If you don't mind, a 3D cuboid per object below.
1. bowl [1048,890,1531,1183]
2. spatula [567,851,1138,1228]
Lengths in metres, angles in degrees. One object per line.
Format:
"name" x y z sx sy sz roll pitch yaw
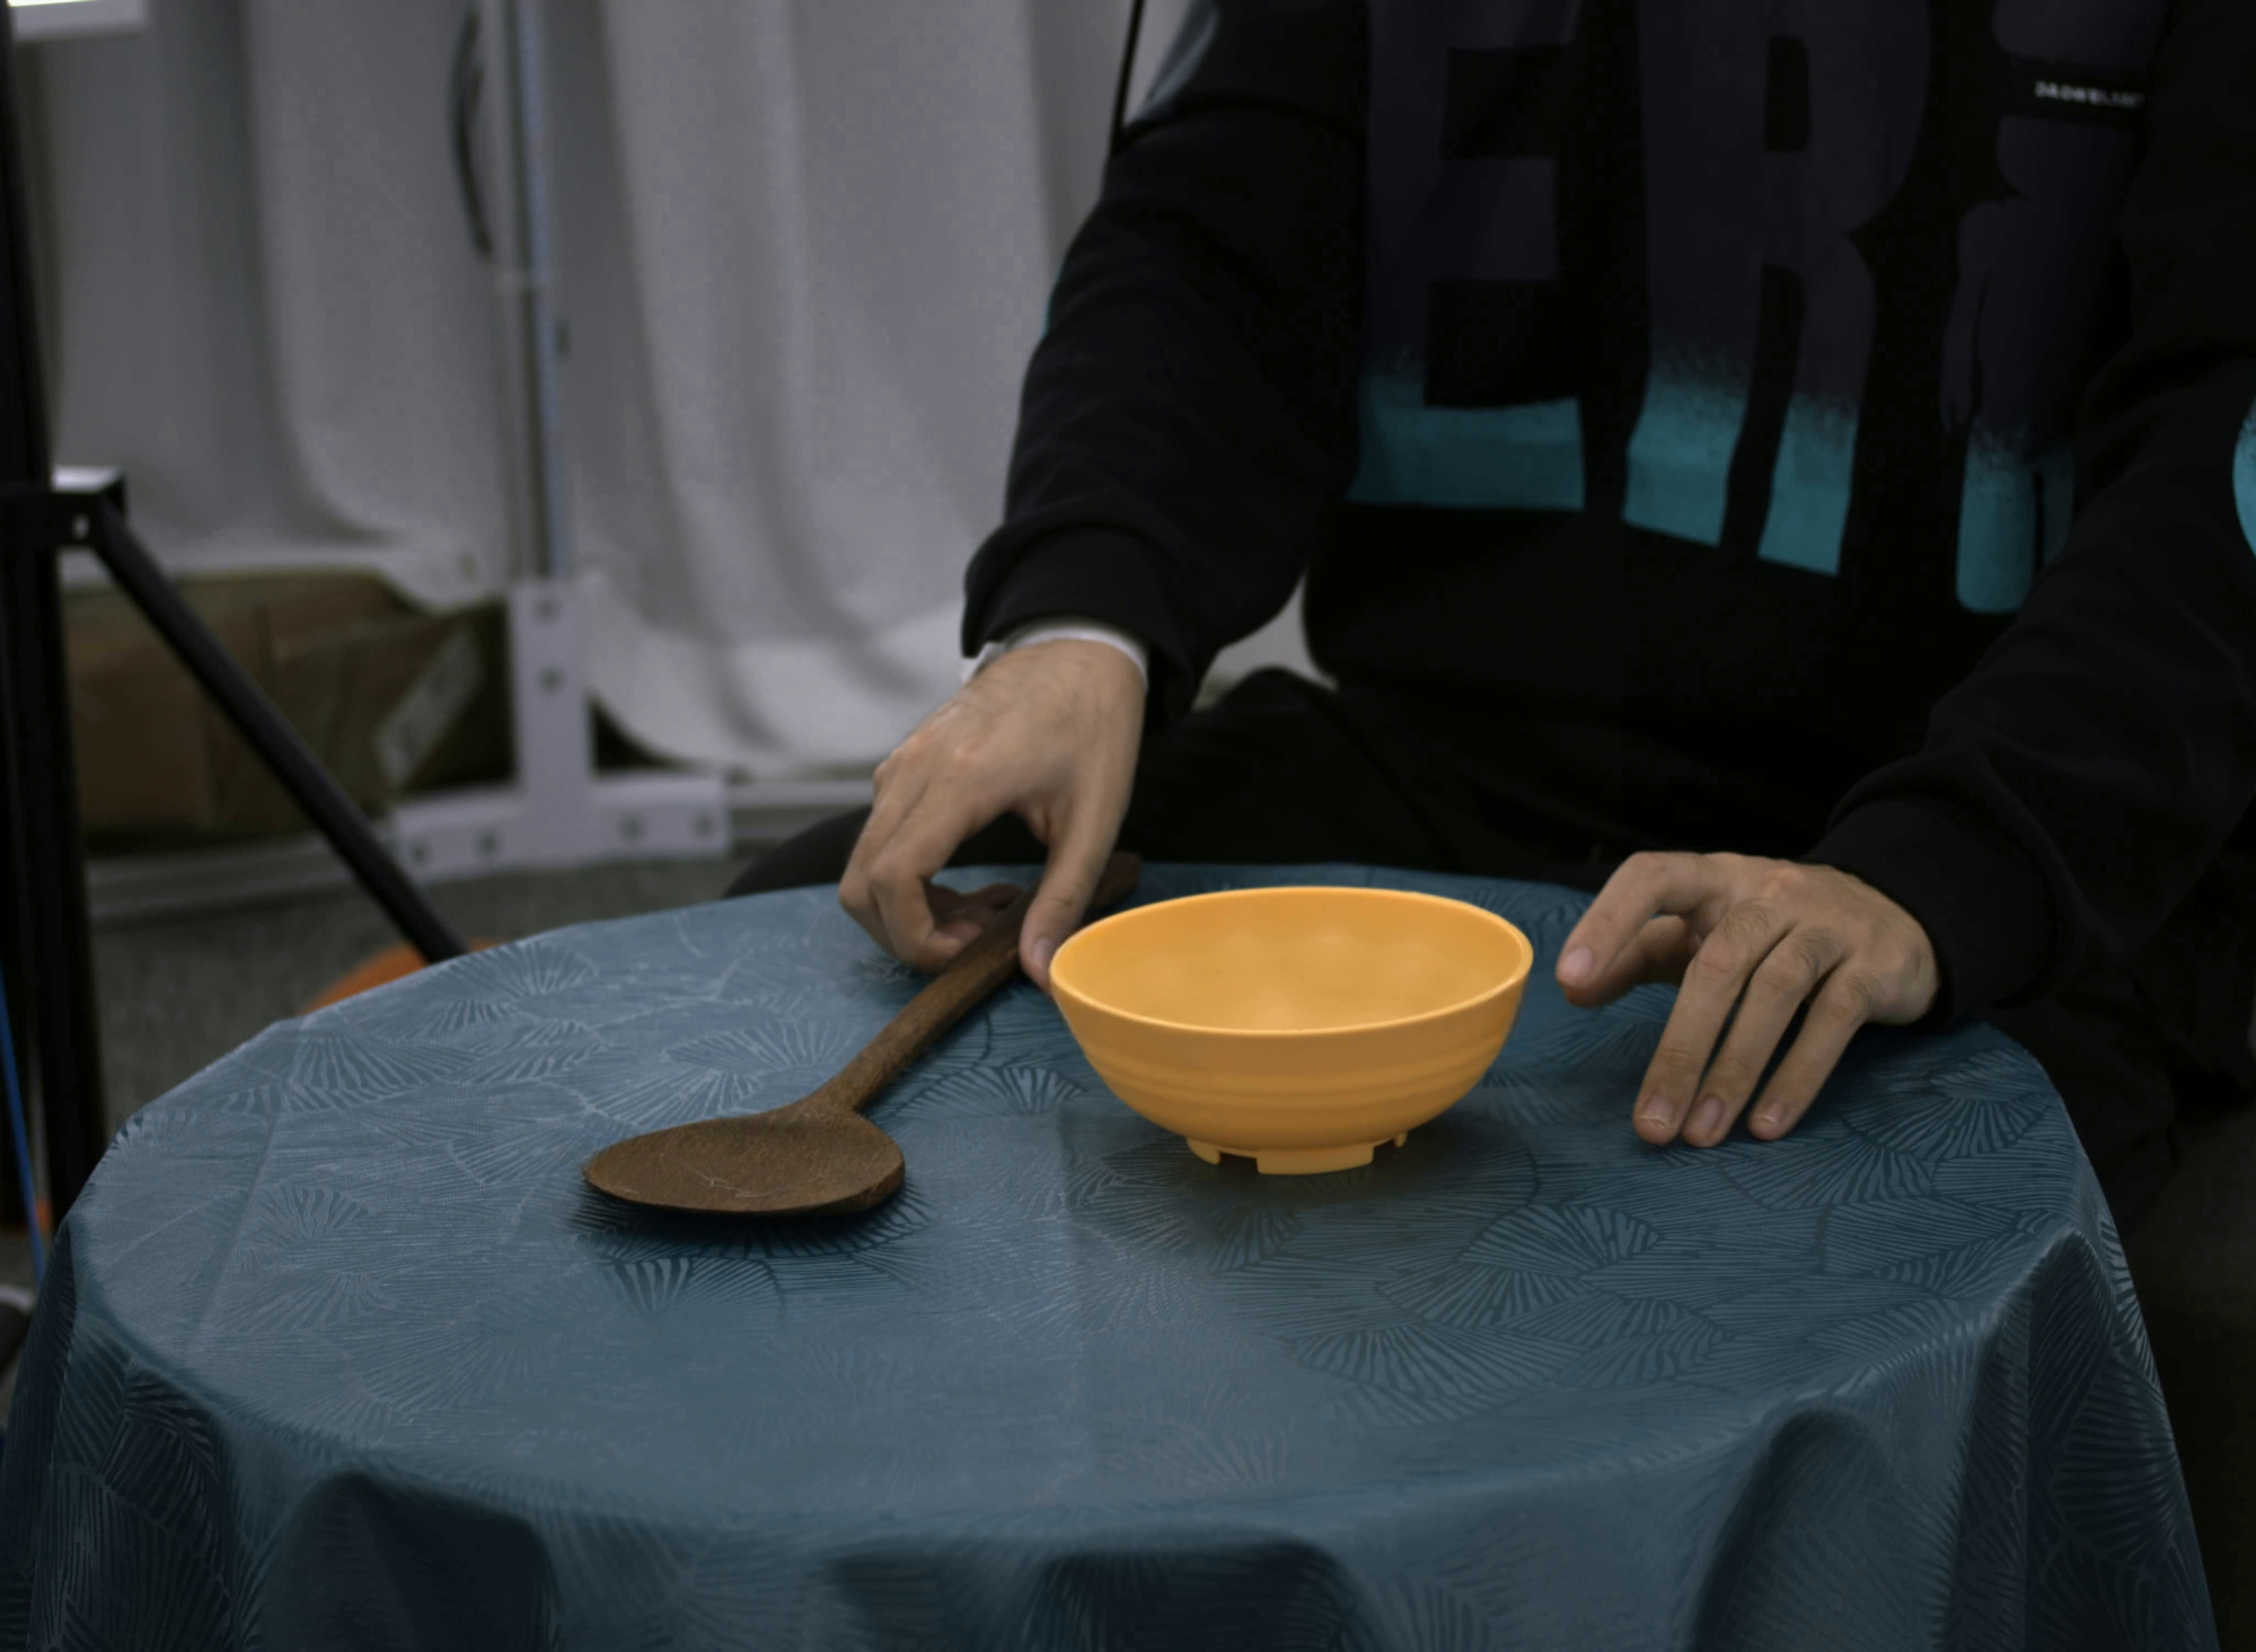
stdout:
"bowl" 0.048 0.068 1.591 0.144 0.060 0.146 0 16 -1
"spatula" -0.066 0.062 1.704 0.097 0.016 0.382 3 17 19
